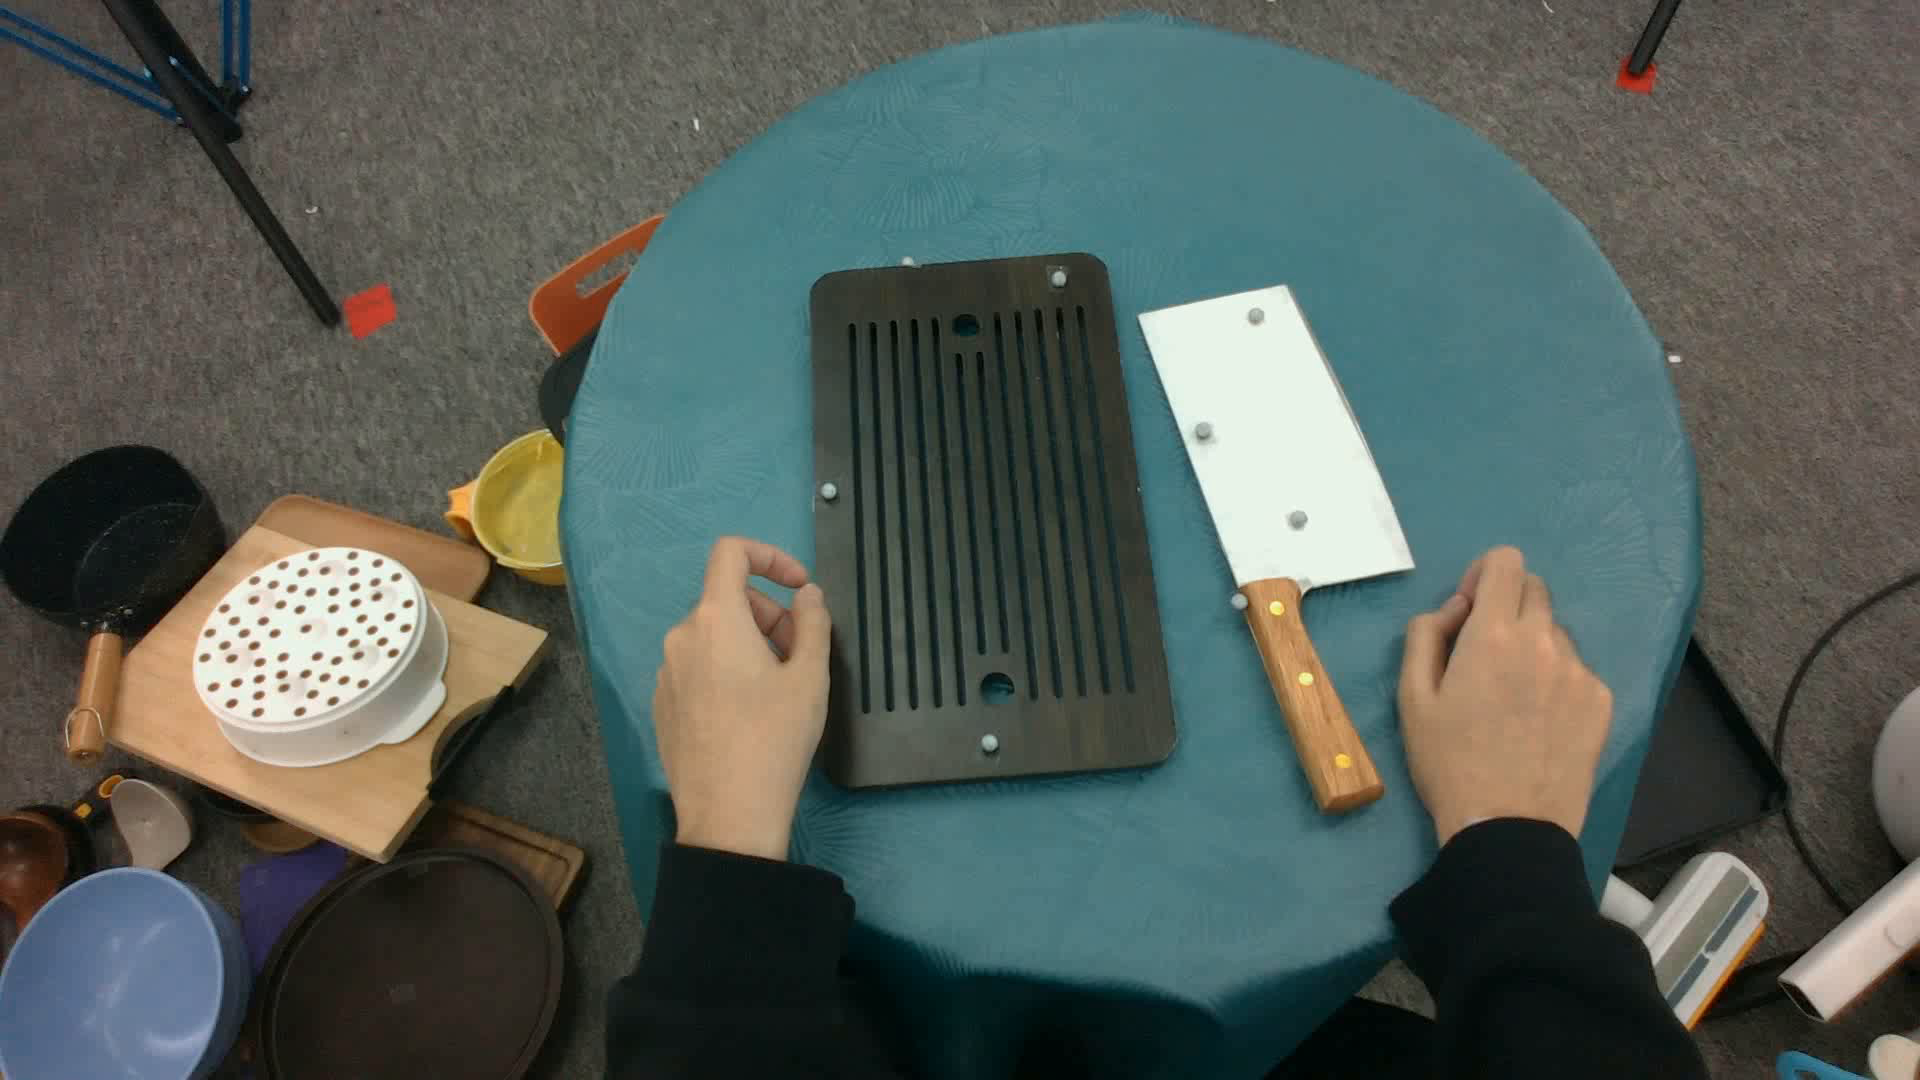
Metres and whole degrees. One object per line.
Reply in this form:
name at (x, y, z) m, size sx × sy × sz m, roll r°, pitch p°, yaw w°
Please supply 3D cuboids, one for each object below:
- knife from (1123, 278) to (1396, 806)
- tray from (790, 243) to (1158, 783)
knife at (0.167, -0.016, 0.704) m, size 0.093 × 0.021 × 0.307 m, roll -12°, pitch 60°, yaw -6°
tray at (-0.001, -0.026, 0.713) m, size 0.170 × 0.018 × 0.307 m, roll -4°, pitch 62°, yaw -1°
